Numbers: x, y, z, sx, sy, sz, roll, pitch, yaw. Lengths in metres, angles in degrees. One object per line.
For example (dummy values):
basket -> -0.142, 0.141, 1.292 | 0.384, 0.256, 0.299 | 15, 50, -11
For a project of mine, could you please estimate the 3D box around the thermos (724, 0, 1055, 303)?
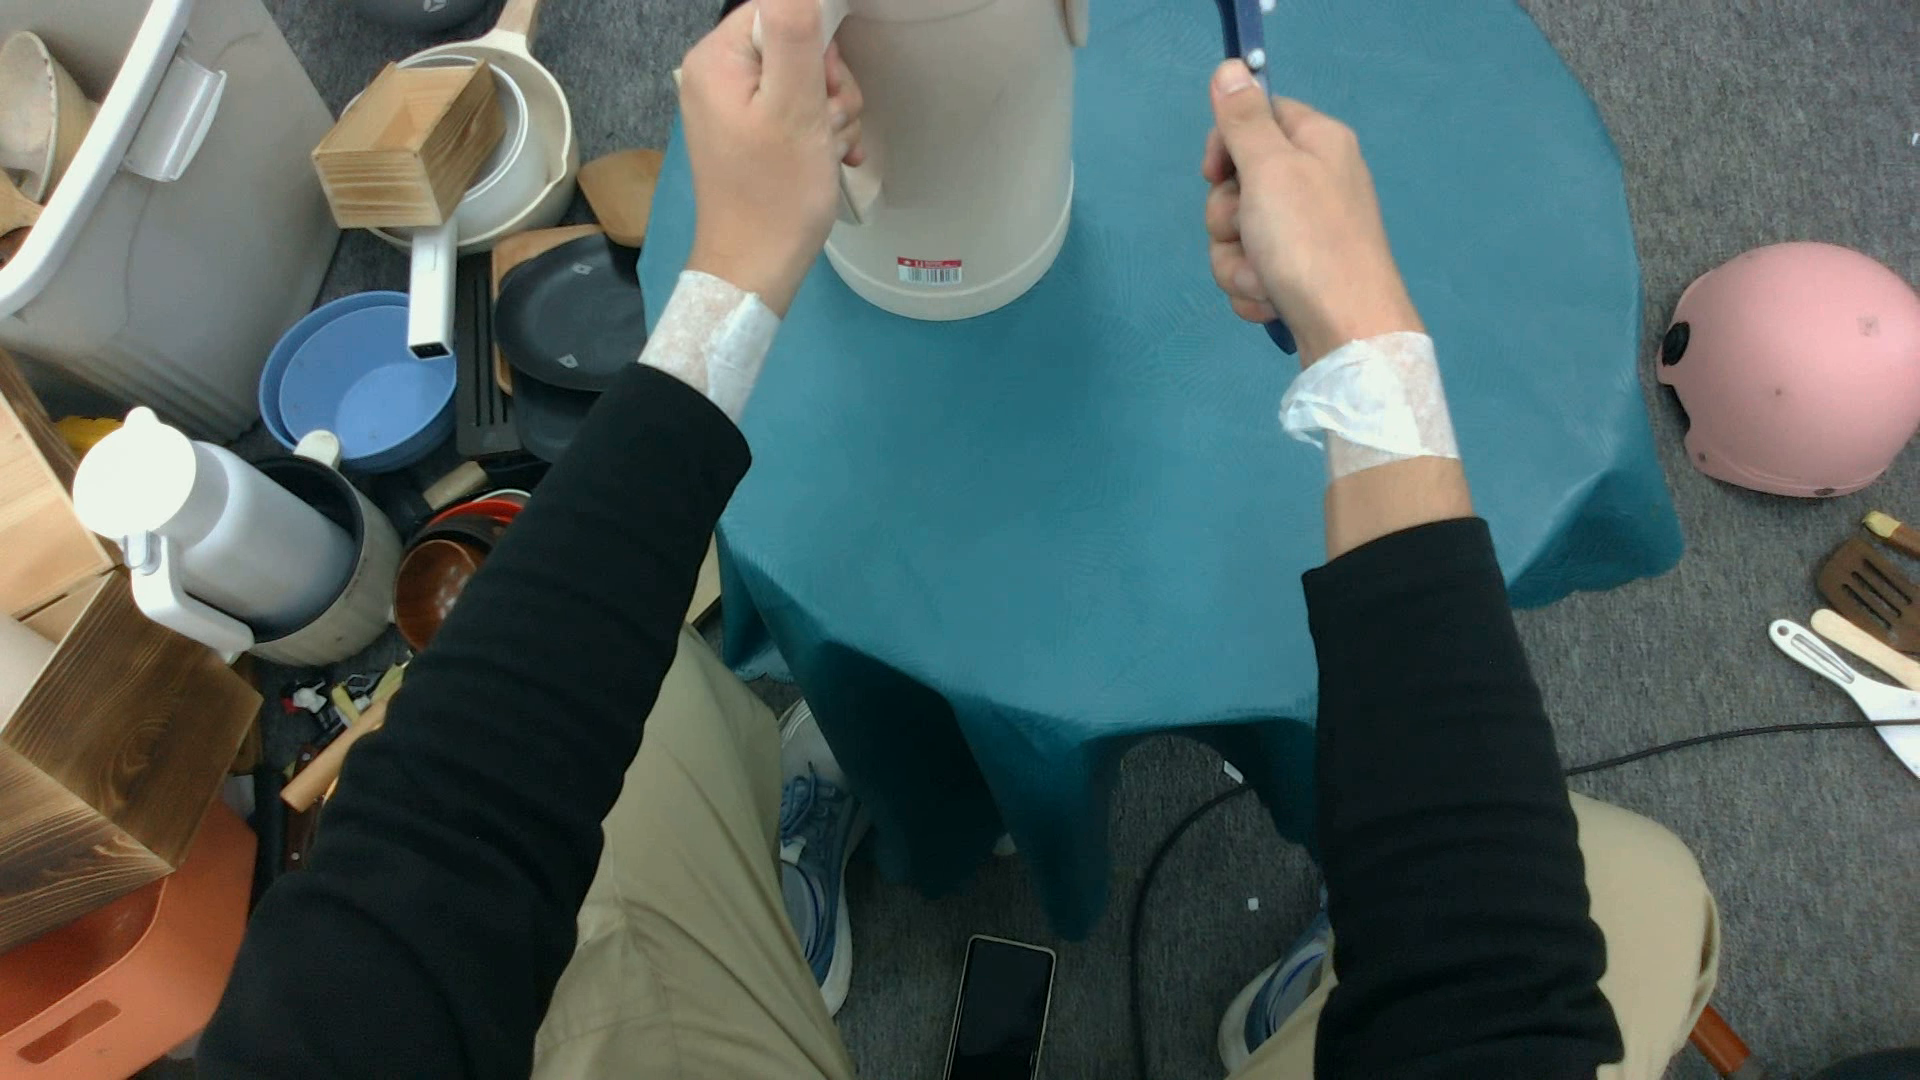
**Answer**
thermos -> -0.043, -0.265, 0.660 | 0.175, 0.405, 0.207 | 23, 73, 7

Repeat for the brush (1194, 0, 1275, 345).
brush -> 0.117, -0.223, 0.595 | 0.096, 0.033, 0.273 | -16, 87, -6
